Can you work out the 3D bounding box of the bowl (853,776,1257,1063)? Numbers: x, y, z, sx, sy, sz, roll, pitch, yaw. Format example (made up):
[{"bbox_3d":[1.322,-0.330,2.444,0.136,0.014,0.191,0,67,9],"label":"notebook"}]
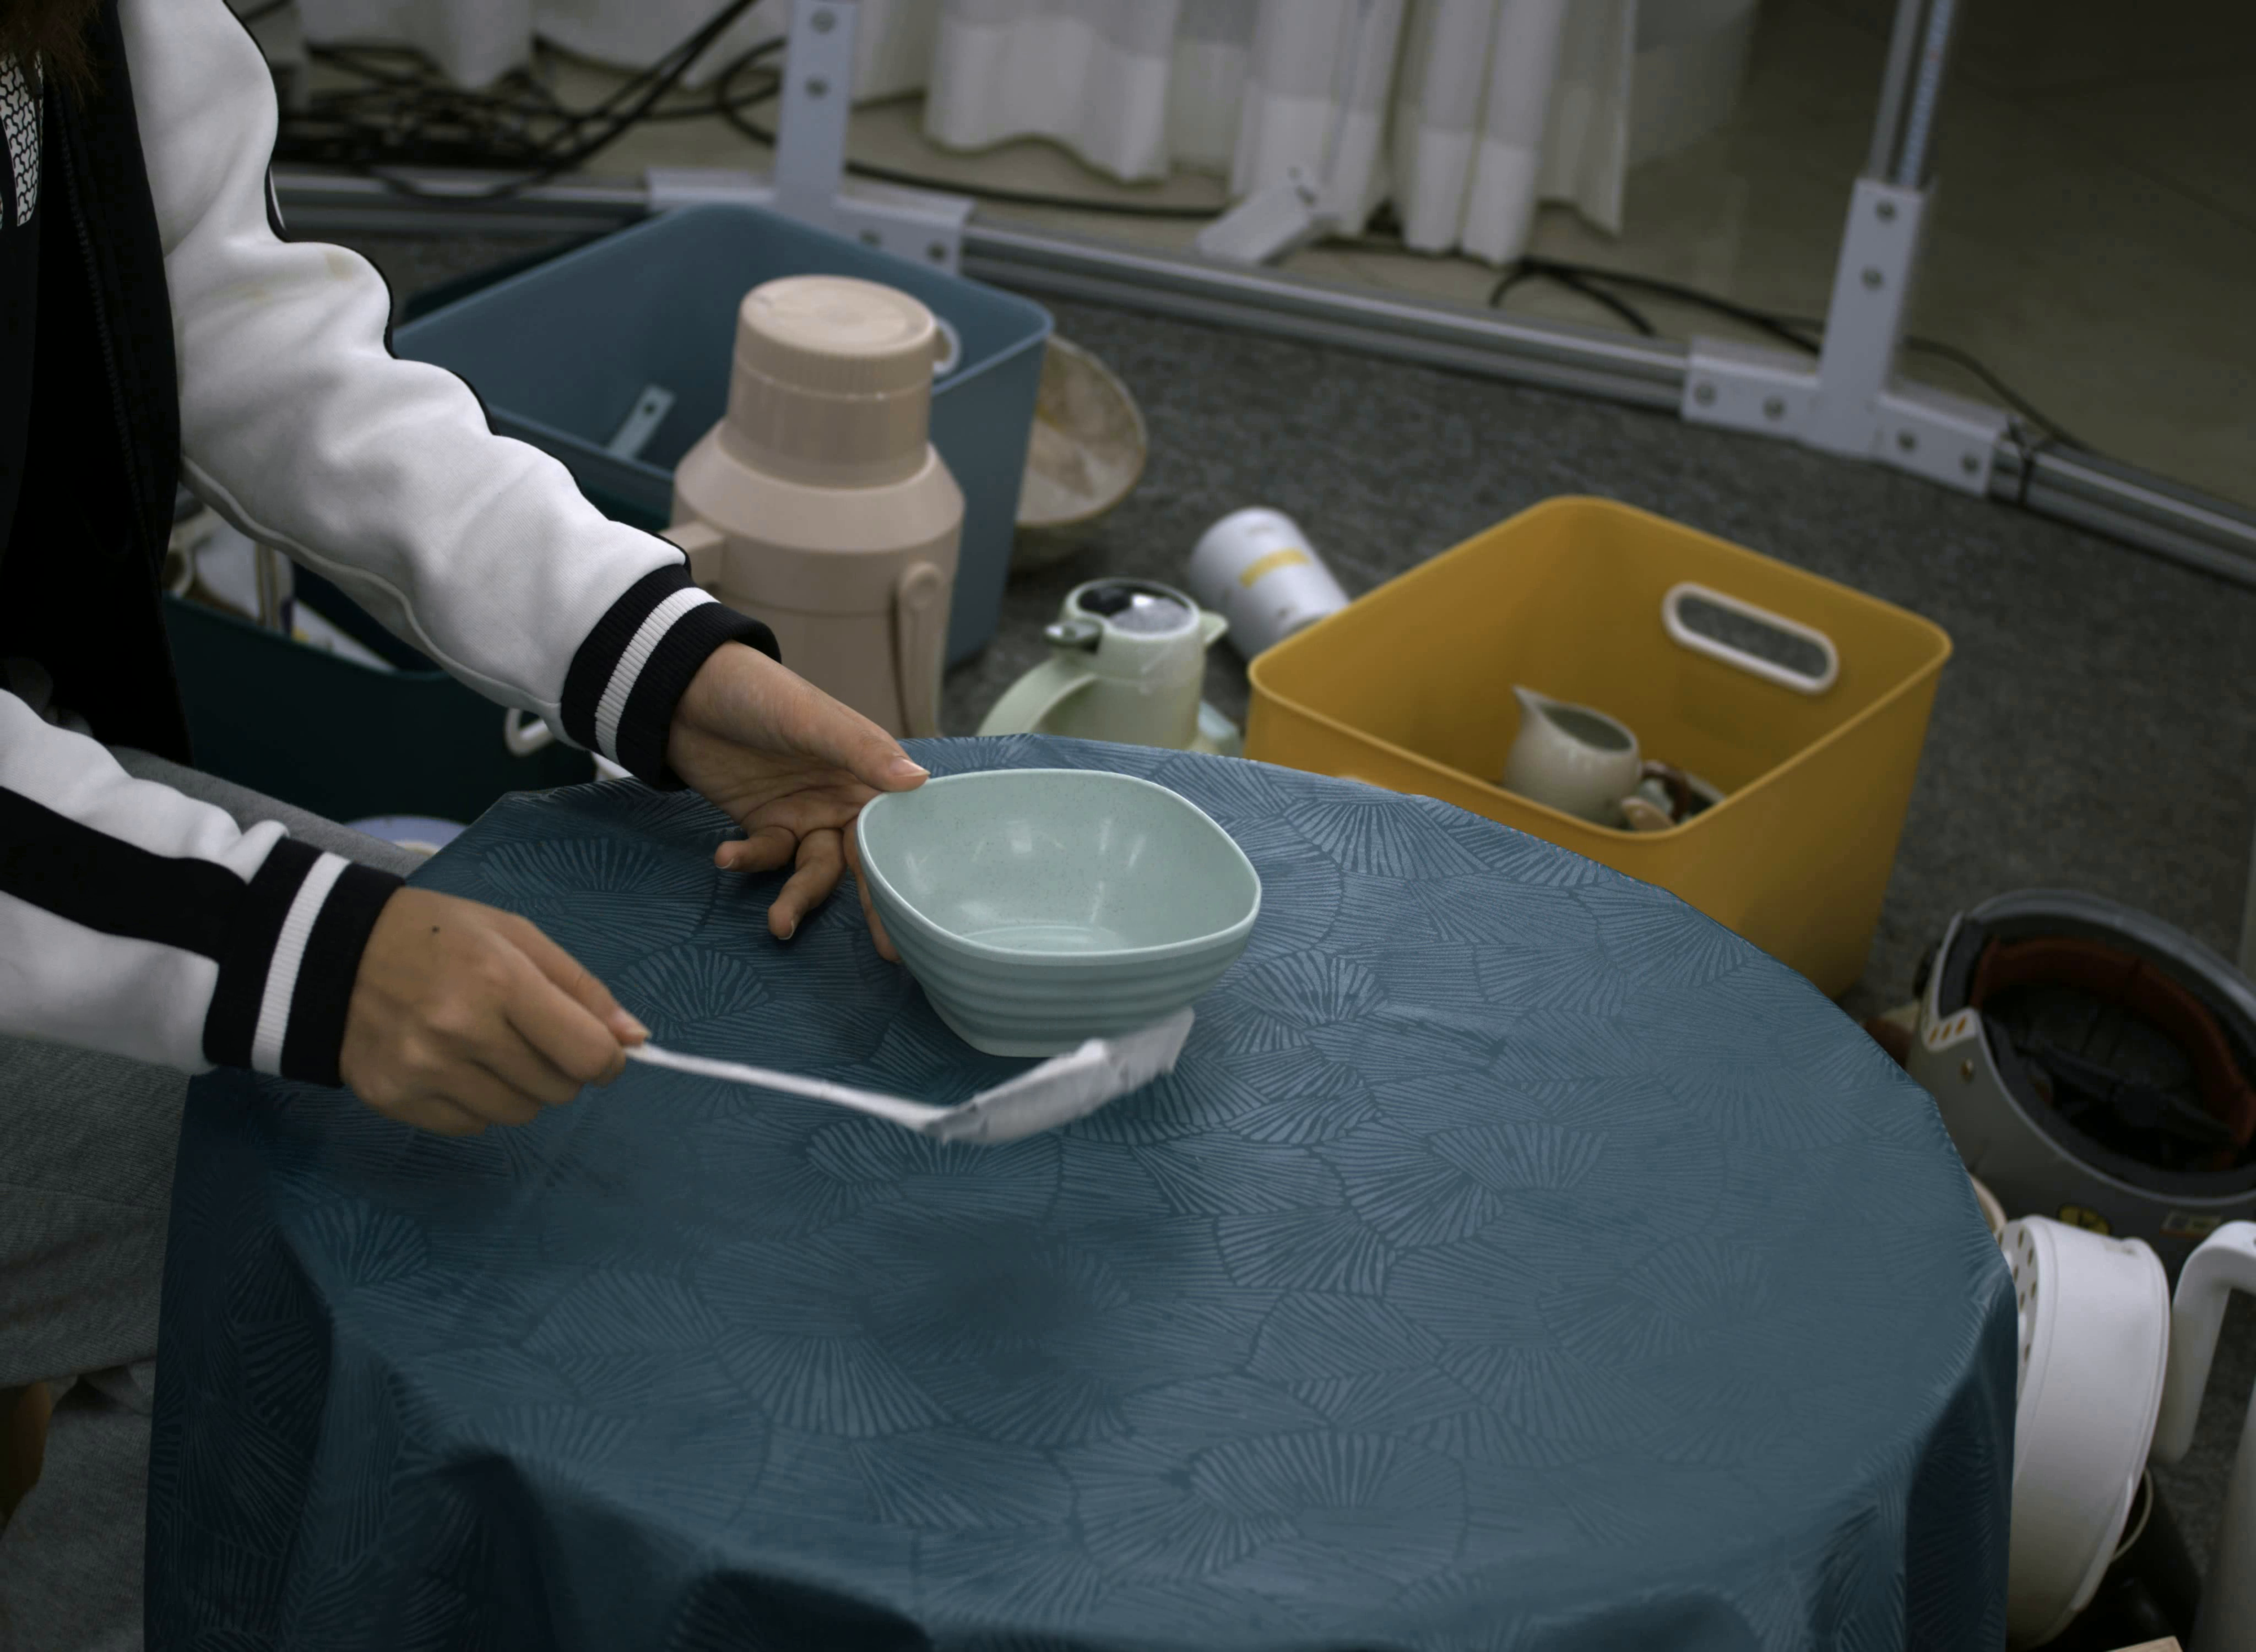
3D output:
[{"bbox_3d":[-0.029,0.039,1.904,0.151,0.058,0.152,5,27,-3],"label":"bowl"}]

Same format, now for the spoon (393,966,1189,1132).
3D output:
[{"bbox_3d":[-0.114,0.054,1.743,0.278,0.059,0.100,13,7,21],"label":"spoon"}]
